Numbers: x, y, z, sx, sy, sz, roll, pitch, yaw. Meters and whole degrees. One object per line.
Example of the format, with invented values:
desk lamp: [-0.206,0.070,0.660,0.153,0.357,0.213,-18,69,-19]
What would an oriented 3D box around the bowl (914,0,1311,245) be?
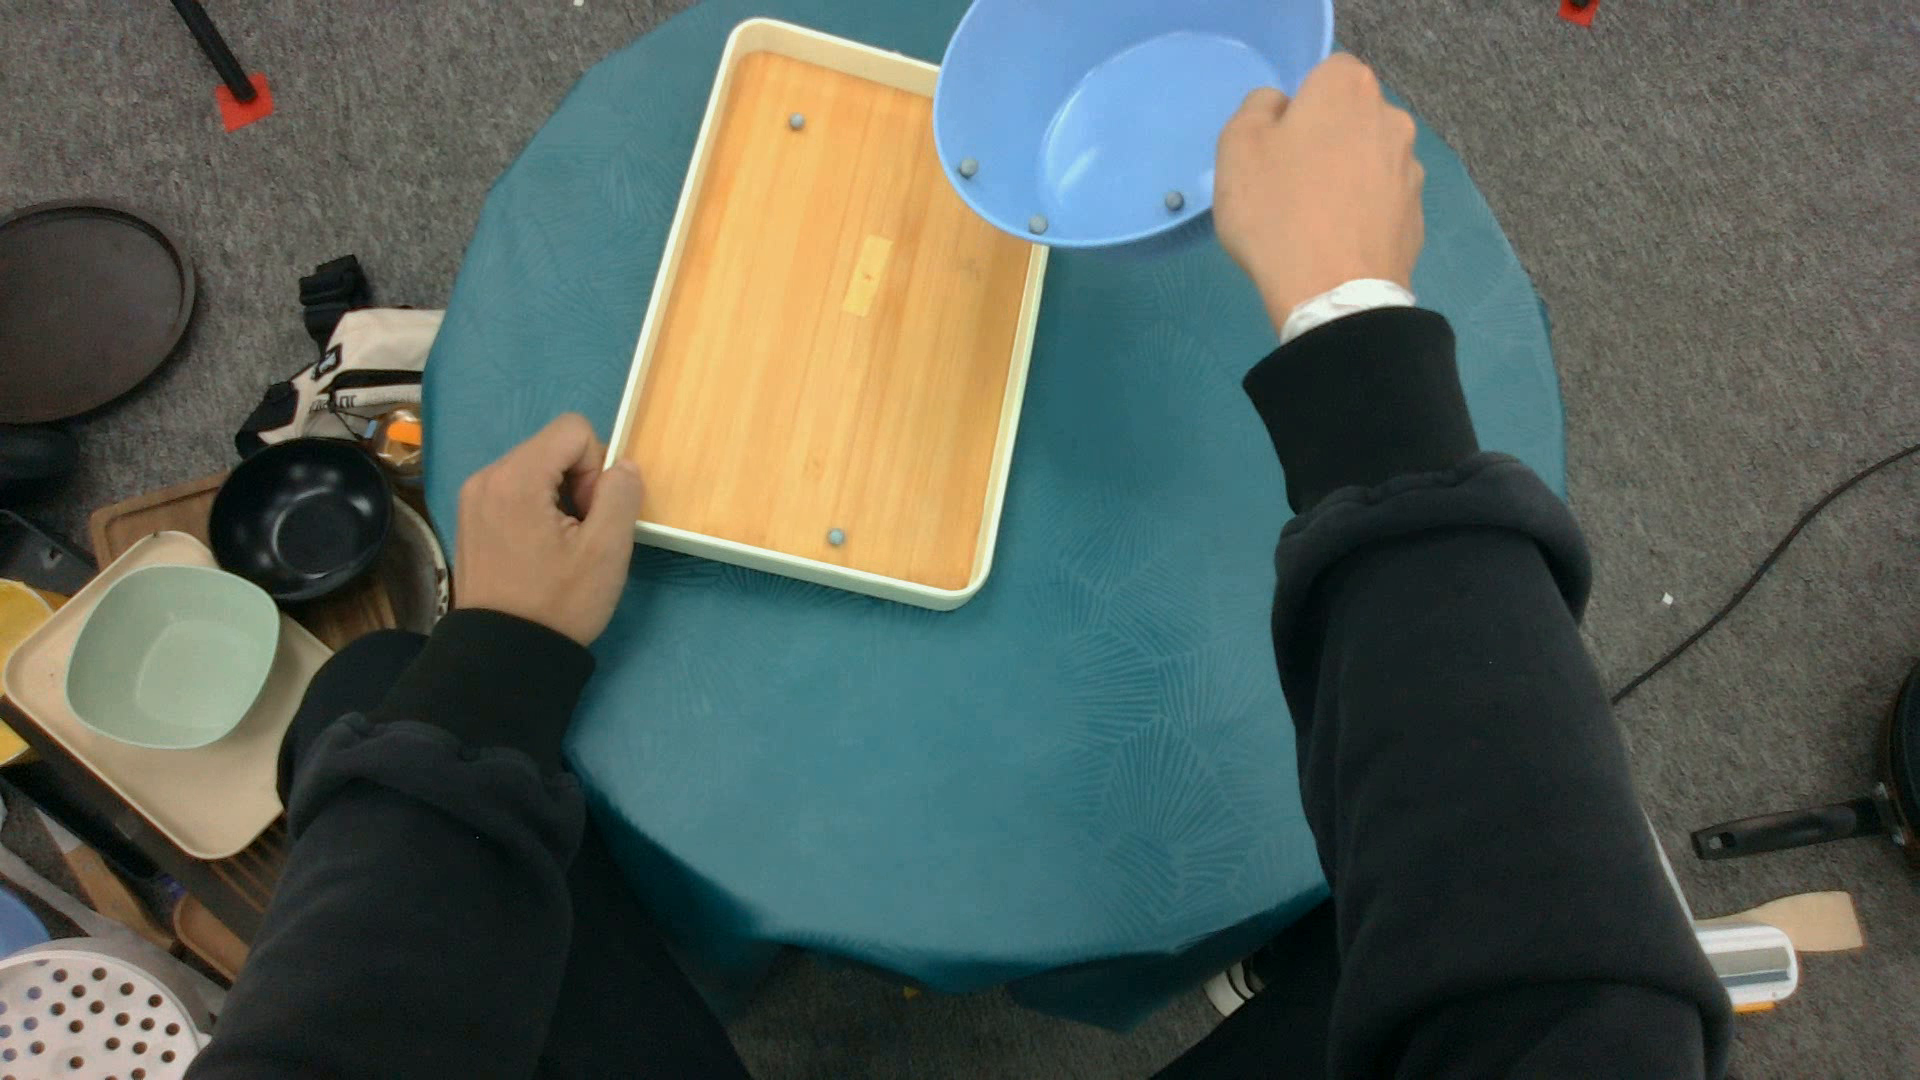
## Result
bowl: [0.072,-0.200,0.617,0.175,0.070,0.176,-8,67,20]

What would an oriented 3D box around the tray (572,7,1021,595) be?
tray: [-0.071,-0.130,0.712,0.191,0.027,0.301,13,68,-9]
